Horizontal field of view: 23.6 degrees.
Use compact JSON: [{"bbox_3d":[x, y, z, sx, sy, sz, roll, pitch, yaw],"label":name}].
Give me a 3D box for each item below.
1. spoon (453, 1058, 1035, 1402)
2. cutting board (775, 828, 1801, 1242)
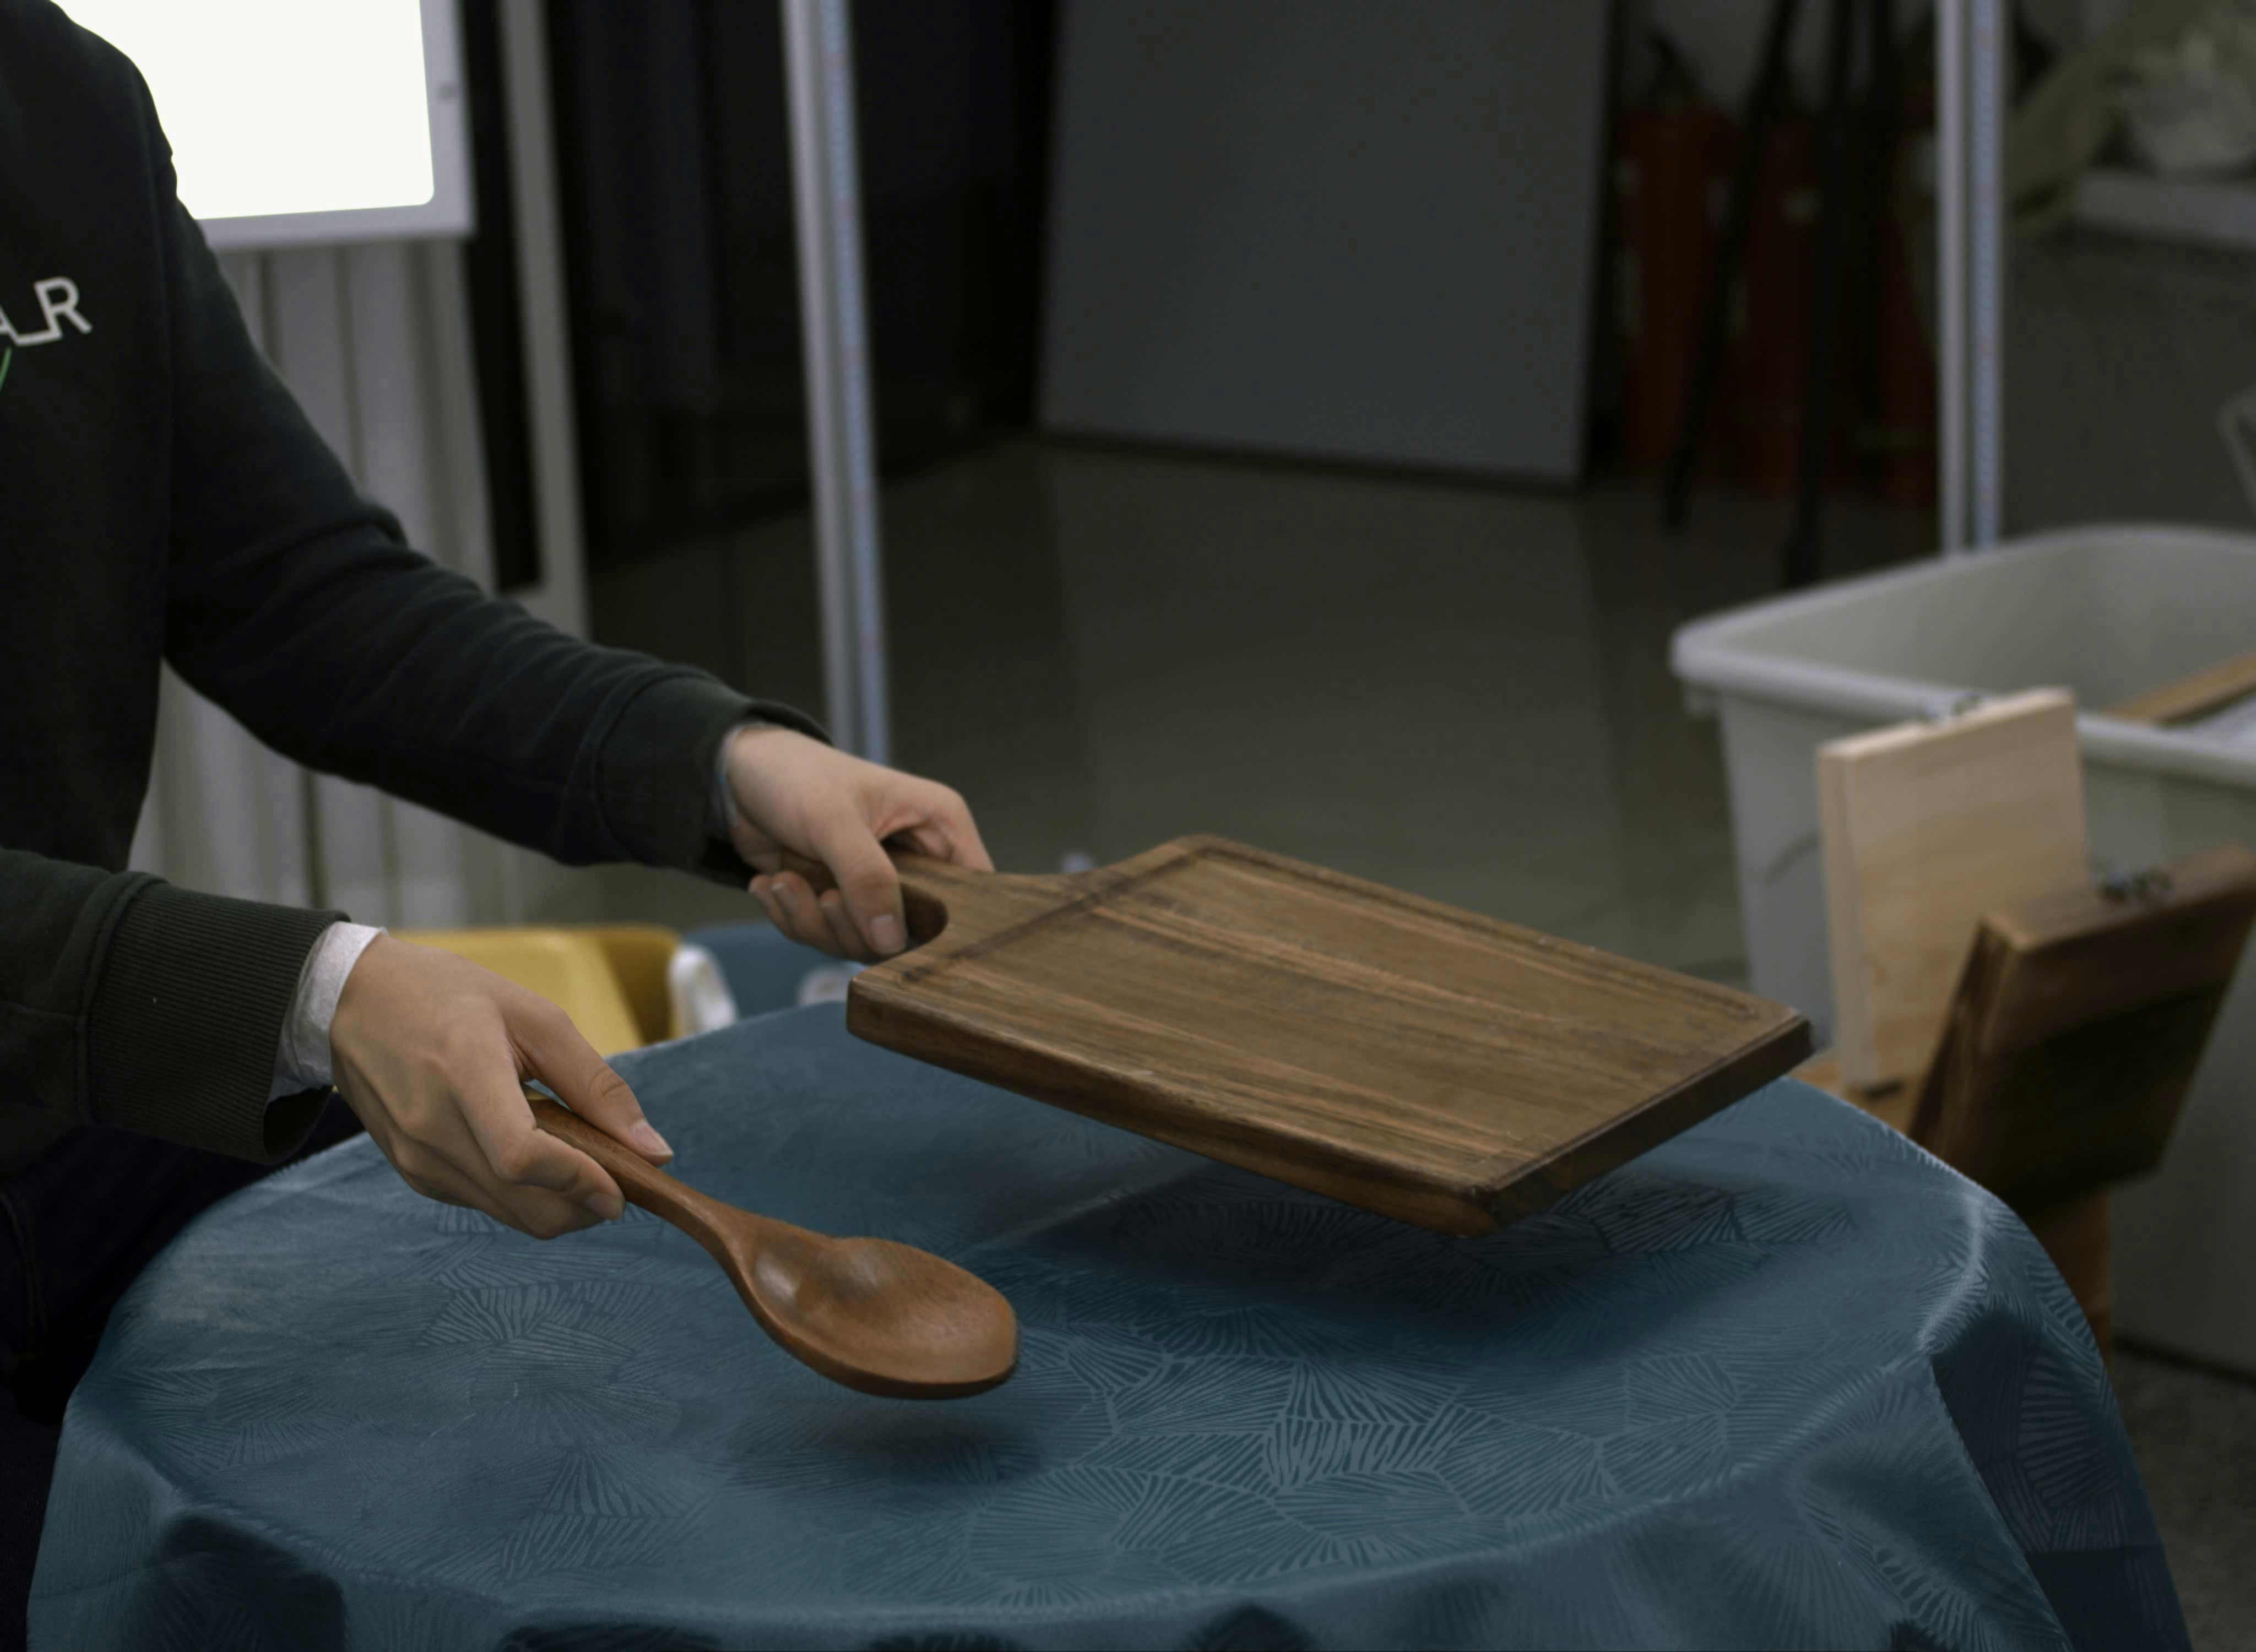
[{"bbox_3d":[-0.118,0.119,1.592,0.217,0.017,0.074,27,32,31],"label":"spoon"},{"bbox_3d":[0.024,0.051,1.751,0.354,0.023,0.197,16,25,35],"label":"cutting board"}]
